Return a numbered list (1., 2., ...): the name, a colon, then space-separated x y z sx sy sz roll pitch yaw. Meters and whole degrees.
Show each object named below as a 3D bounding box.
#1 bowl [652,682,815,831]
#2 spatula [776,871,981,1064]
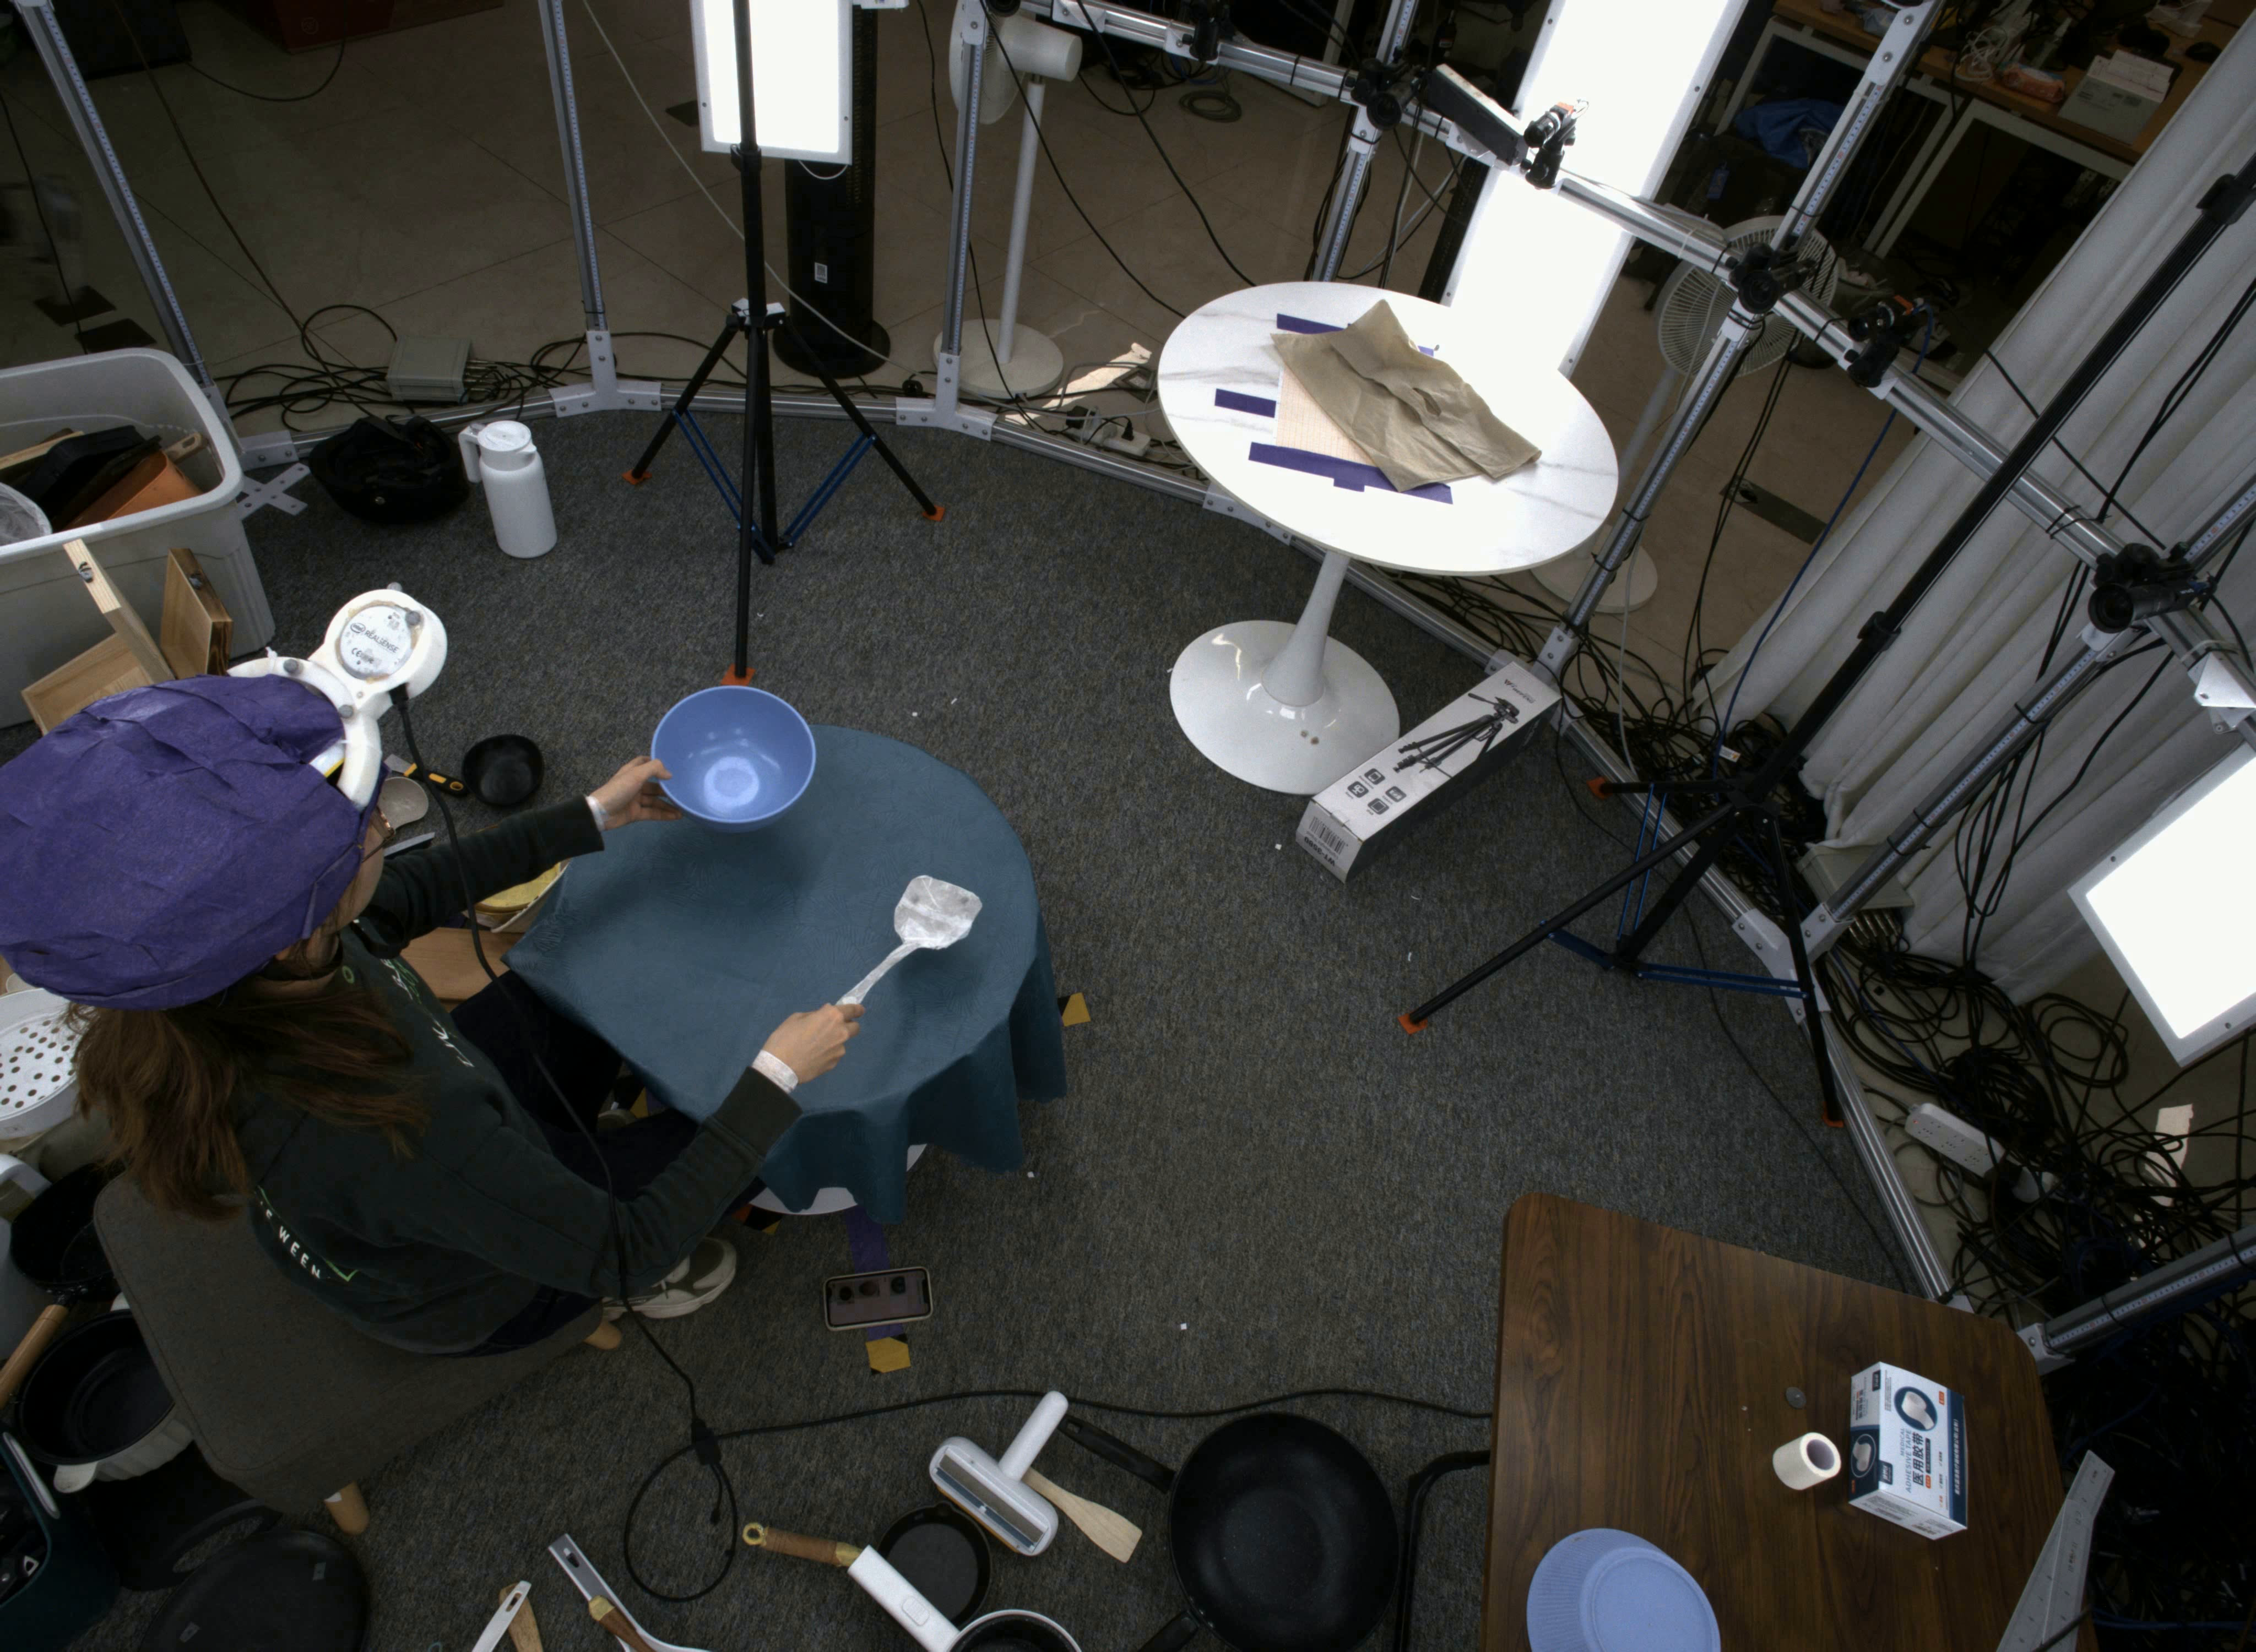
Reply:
1. bowl: -0.495 -0.072 1.619 0.197 0.096 0.194 9 60 -14
2. spatula: -0.287 0.157 1.484 0.097 0.046 0.363 23 31 11
